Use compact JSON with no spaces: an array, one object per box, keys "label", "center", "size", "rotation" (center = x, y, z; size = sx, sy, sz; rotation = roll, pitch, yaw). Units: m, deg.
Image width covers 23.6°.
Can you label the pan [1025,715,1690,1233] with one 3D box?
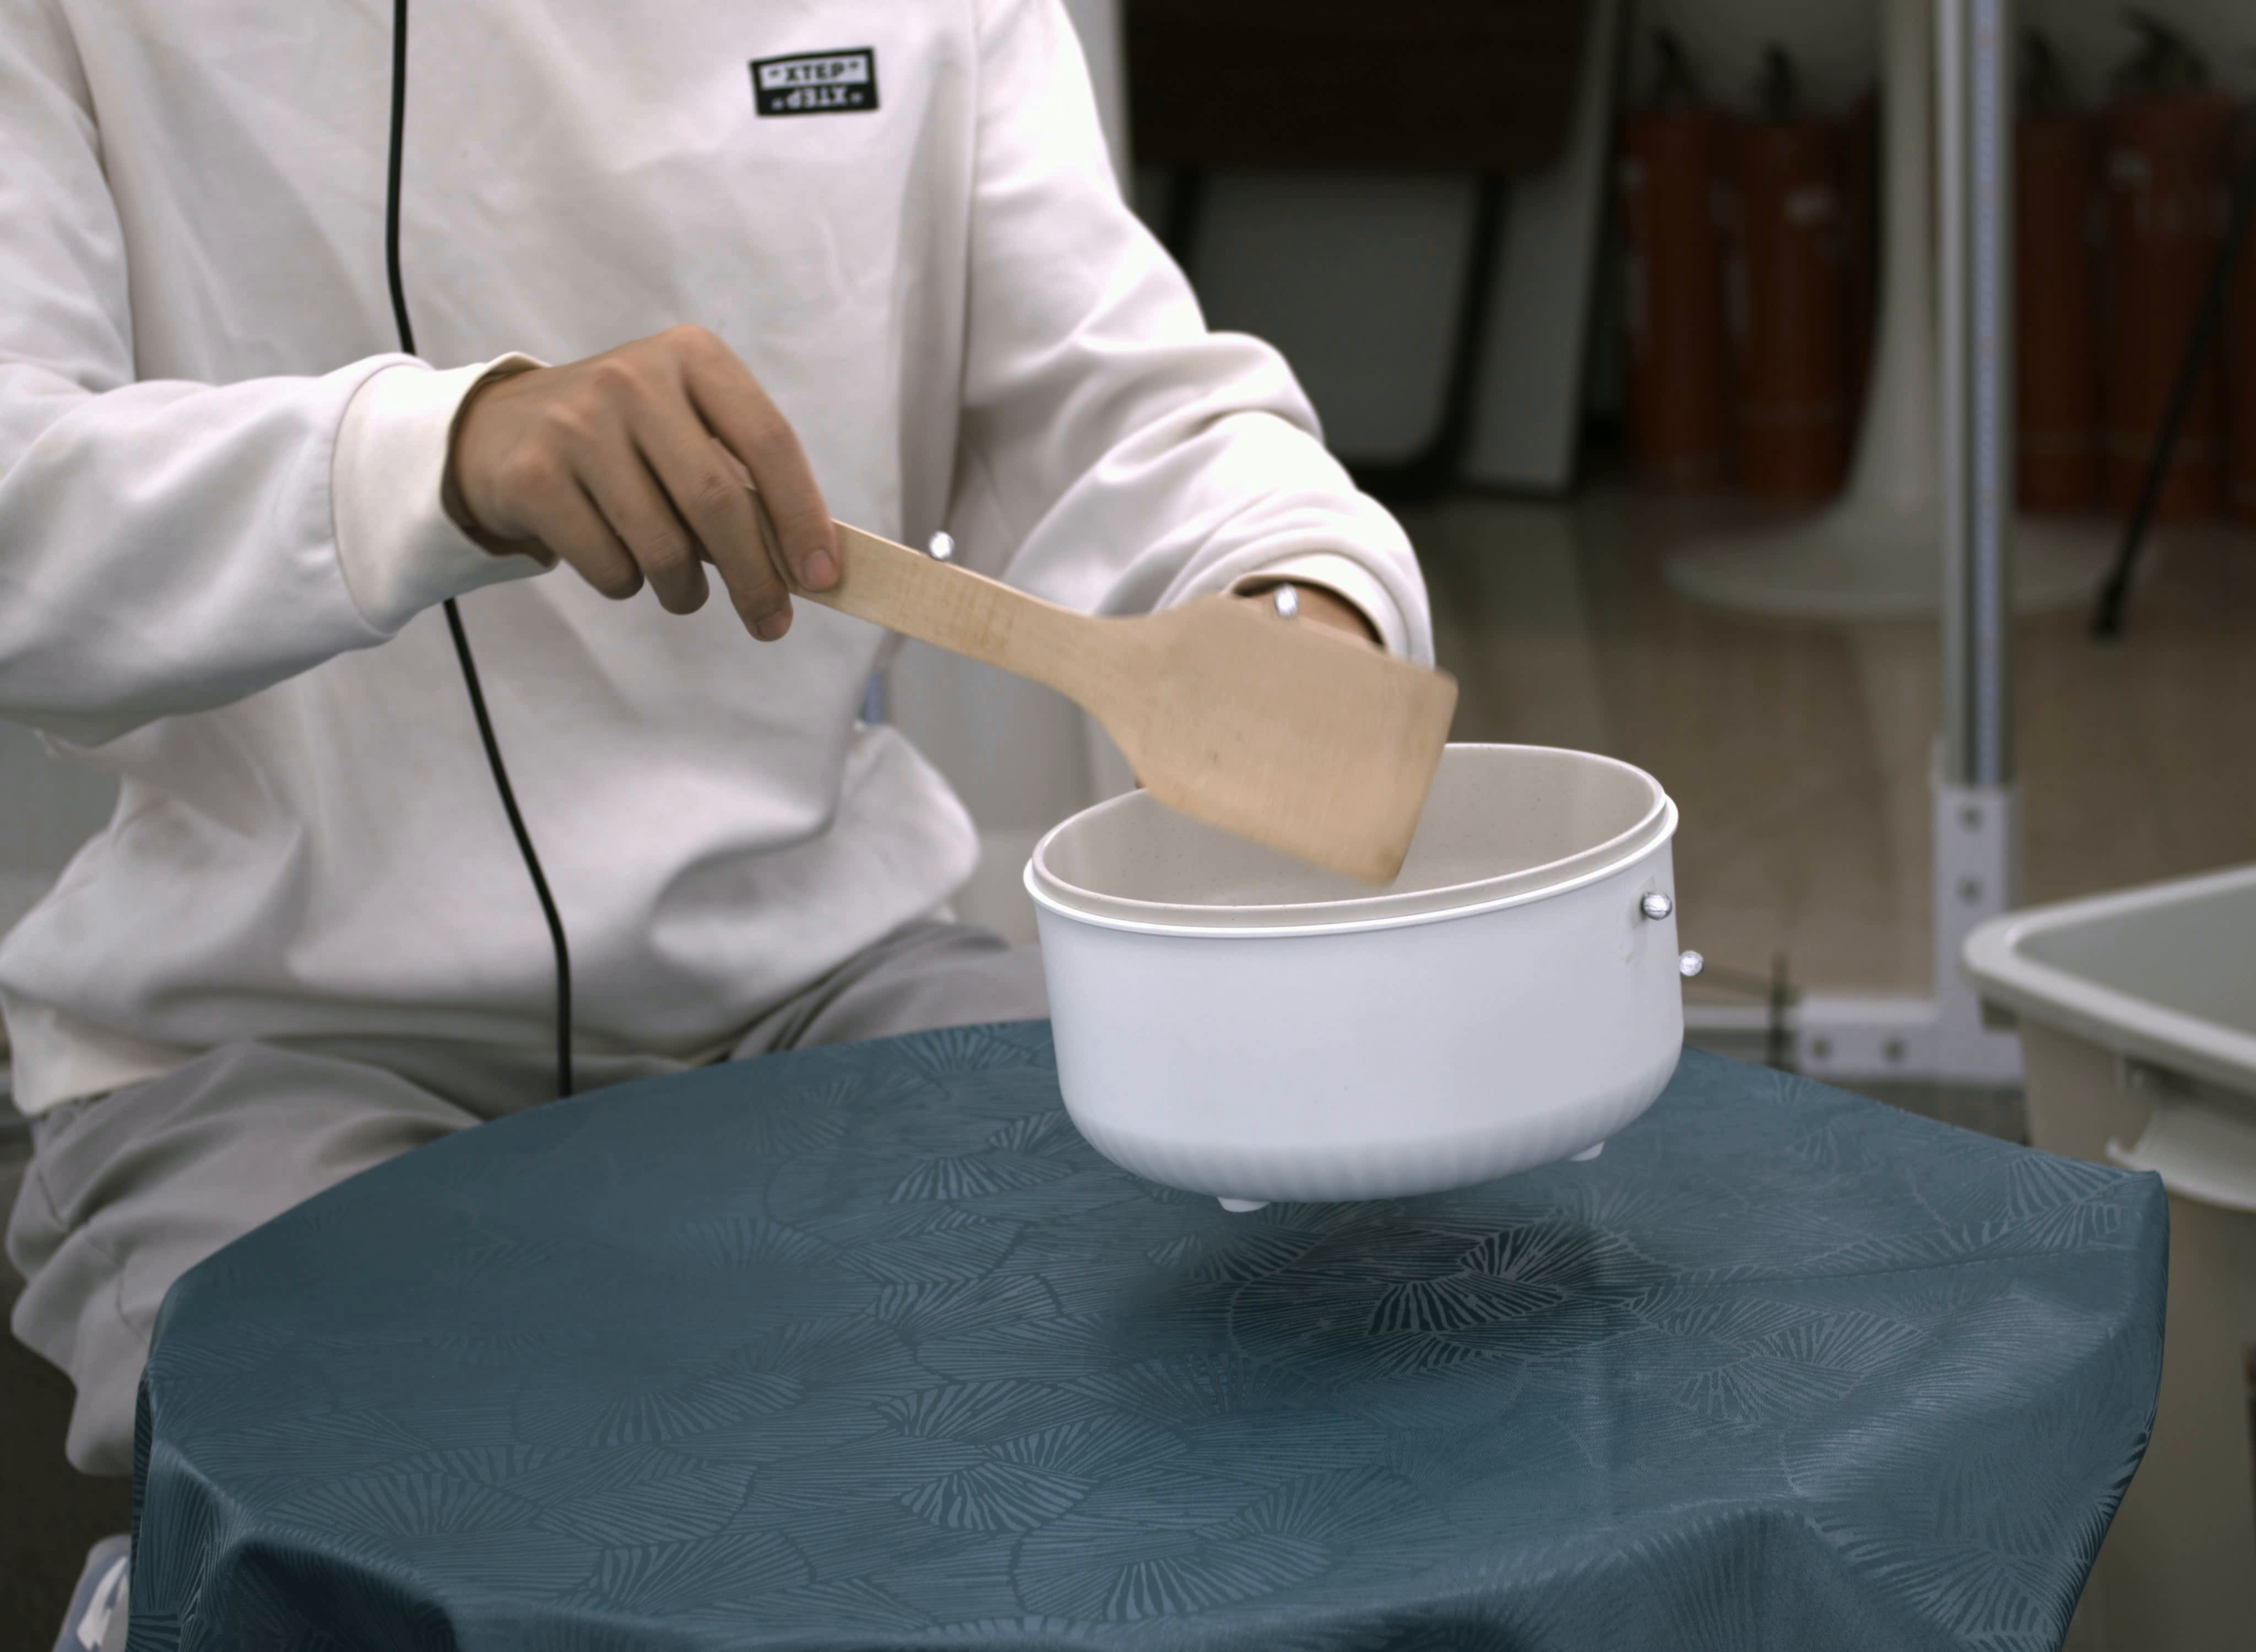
[{"label":"pan","center":[0.062,0.039,1.724],"size":[0.198,0.103,0.356],"rotation":[-12,11,-6]}]
